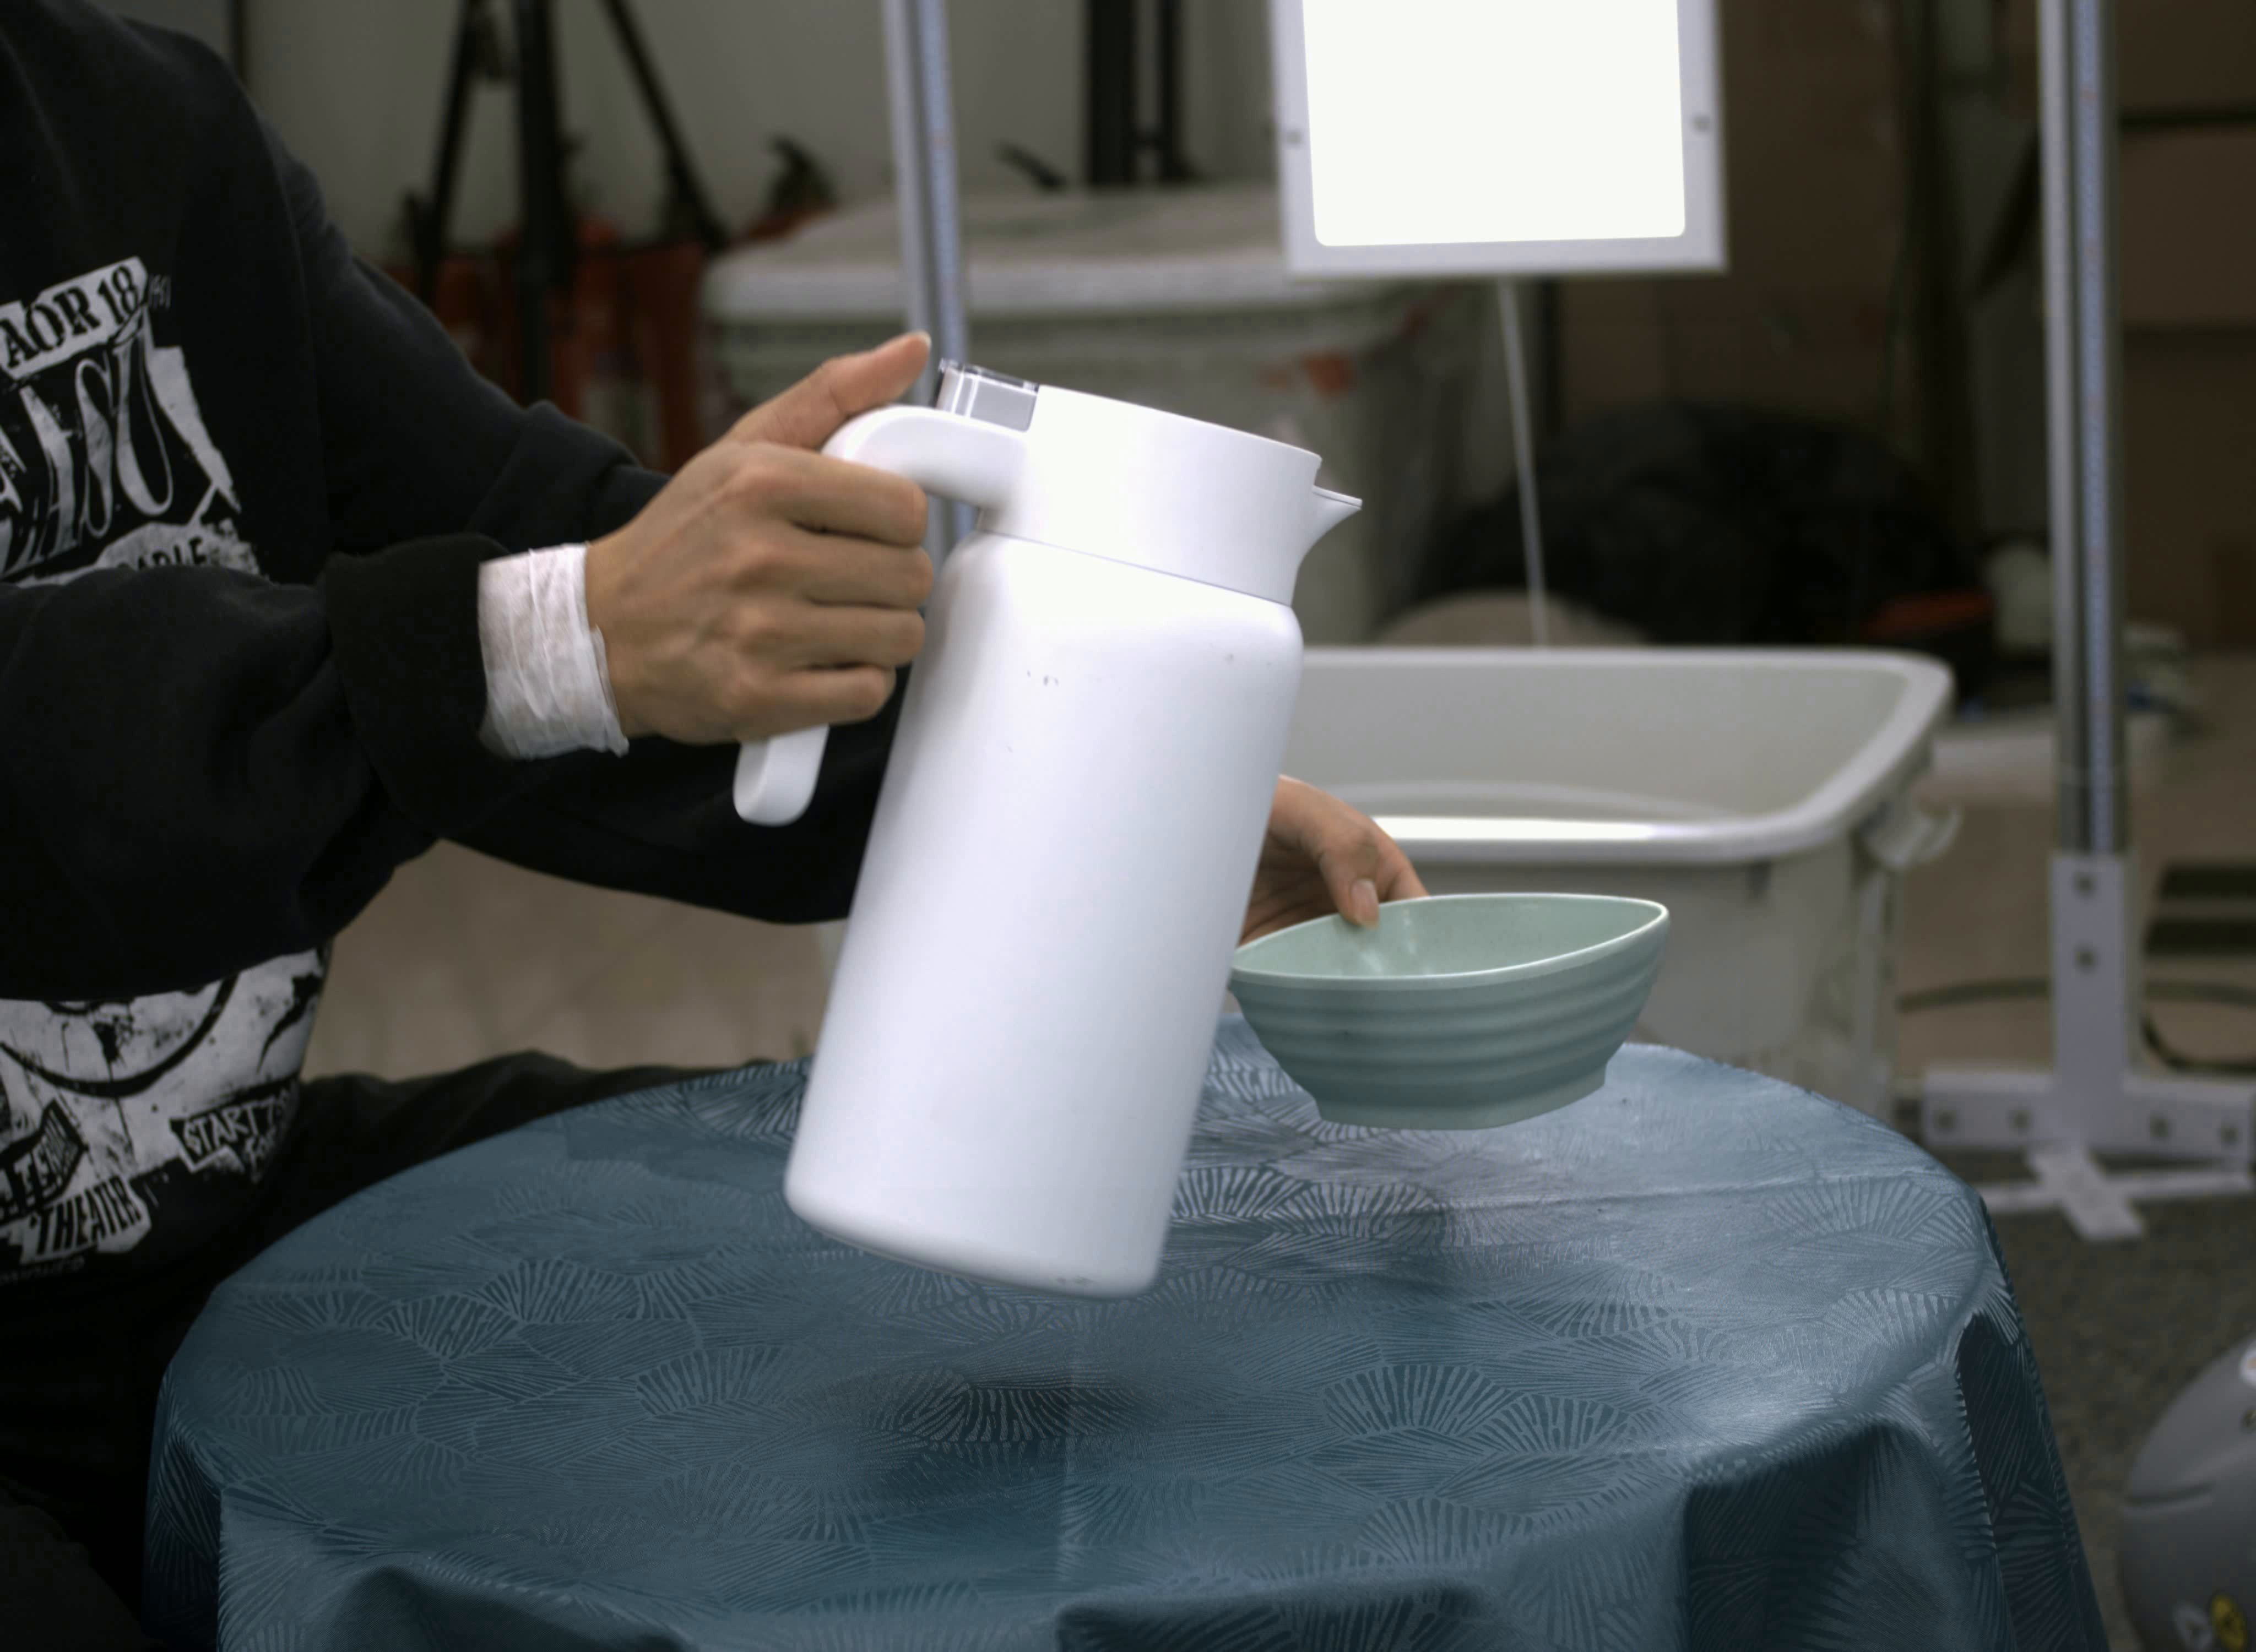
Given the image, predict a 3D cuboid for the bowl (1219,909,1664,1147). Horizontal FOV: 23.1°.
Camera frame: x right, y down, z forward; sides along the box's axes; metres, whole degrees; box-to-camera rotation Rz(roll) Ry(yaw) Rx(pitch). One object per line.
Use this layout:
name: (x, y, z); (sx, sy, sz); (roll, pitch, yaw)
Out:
bowl: (0.109, 0.069, 1.837); (0.151, 0.059, 0.151); (-9, 8, 0)

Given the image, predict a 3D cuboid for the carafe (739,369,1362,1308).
carafe: (-0.033, 0.002, 1.666); (0.170, 0.270, 0.125); (12, 5, -21)
